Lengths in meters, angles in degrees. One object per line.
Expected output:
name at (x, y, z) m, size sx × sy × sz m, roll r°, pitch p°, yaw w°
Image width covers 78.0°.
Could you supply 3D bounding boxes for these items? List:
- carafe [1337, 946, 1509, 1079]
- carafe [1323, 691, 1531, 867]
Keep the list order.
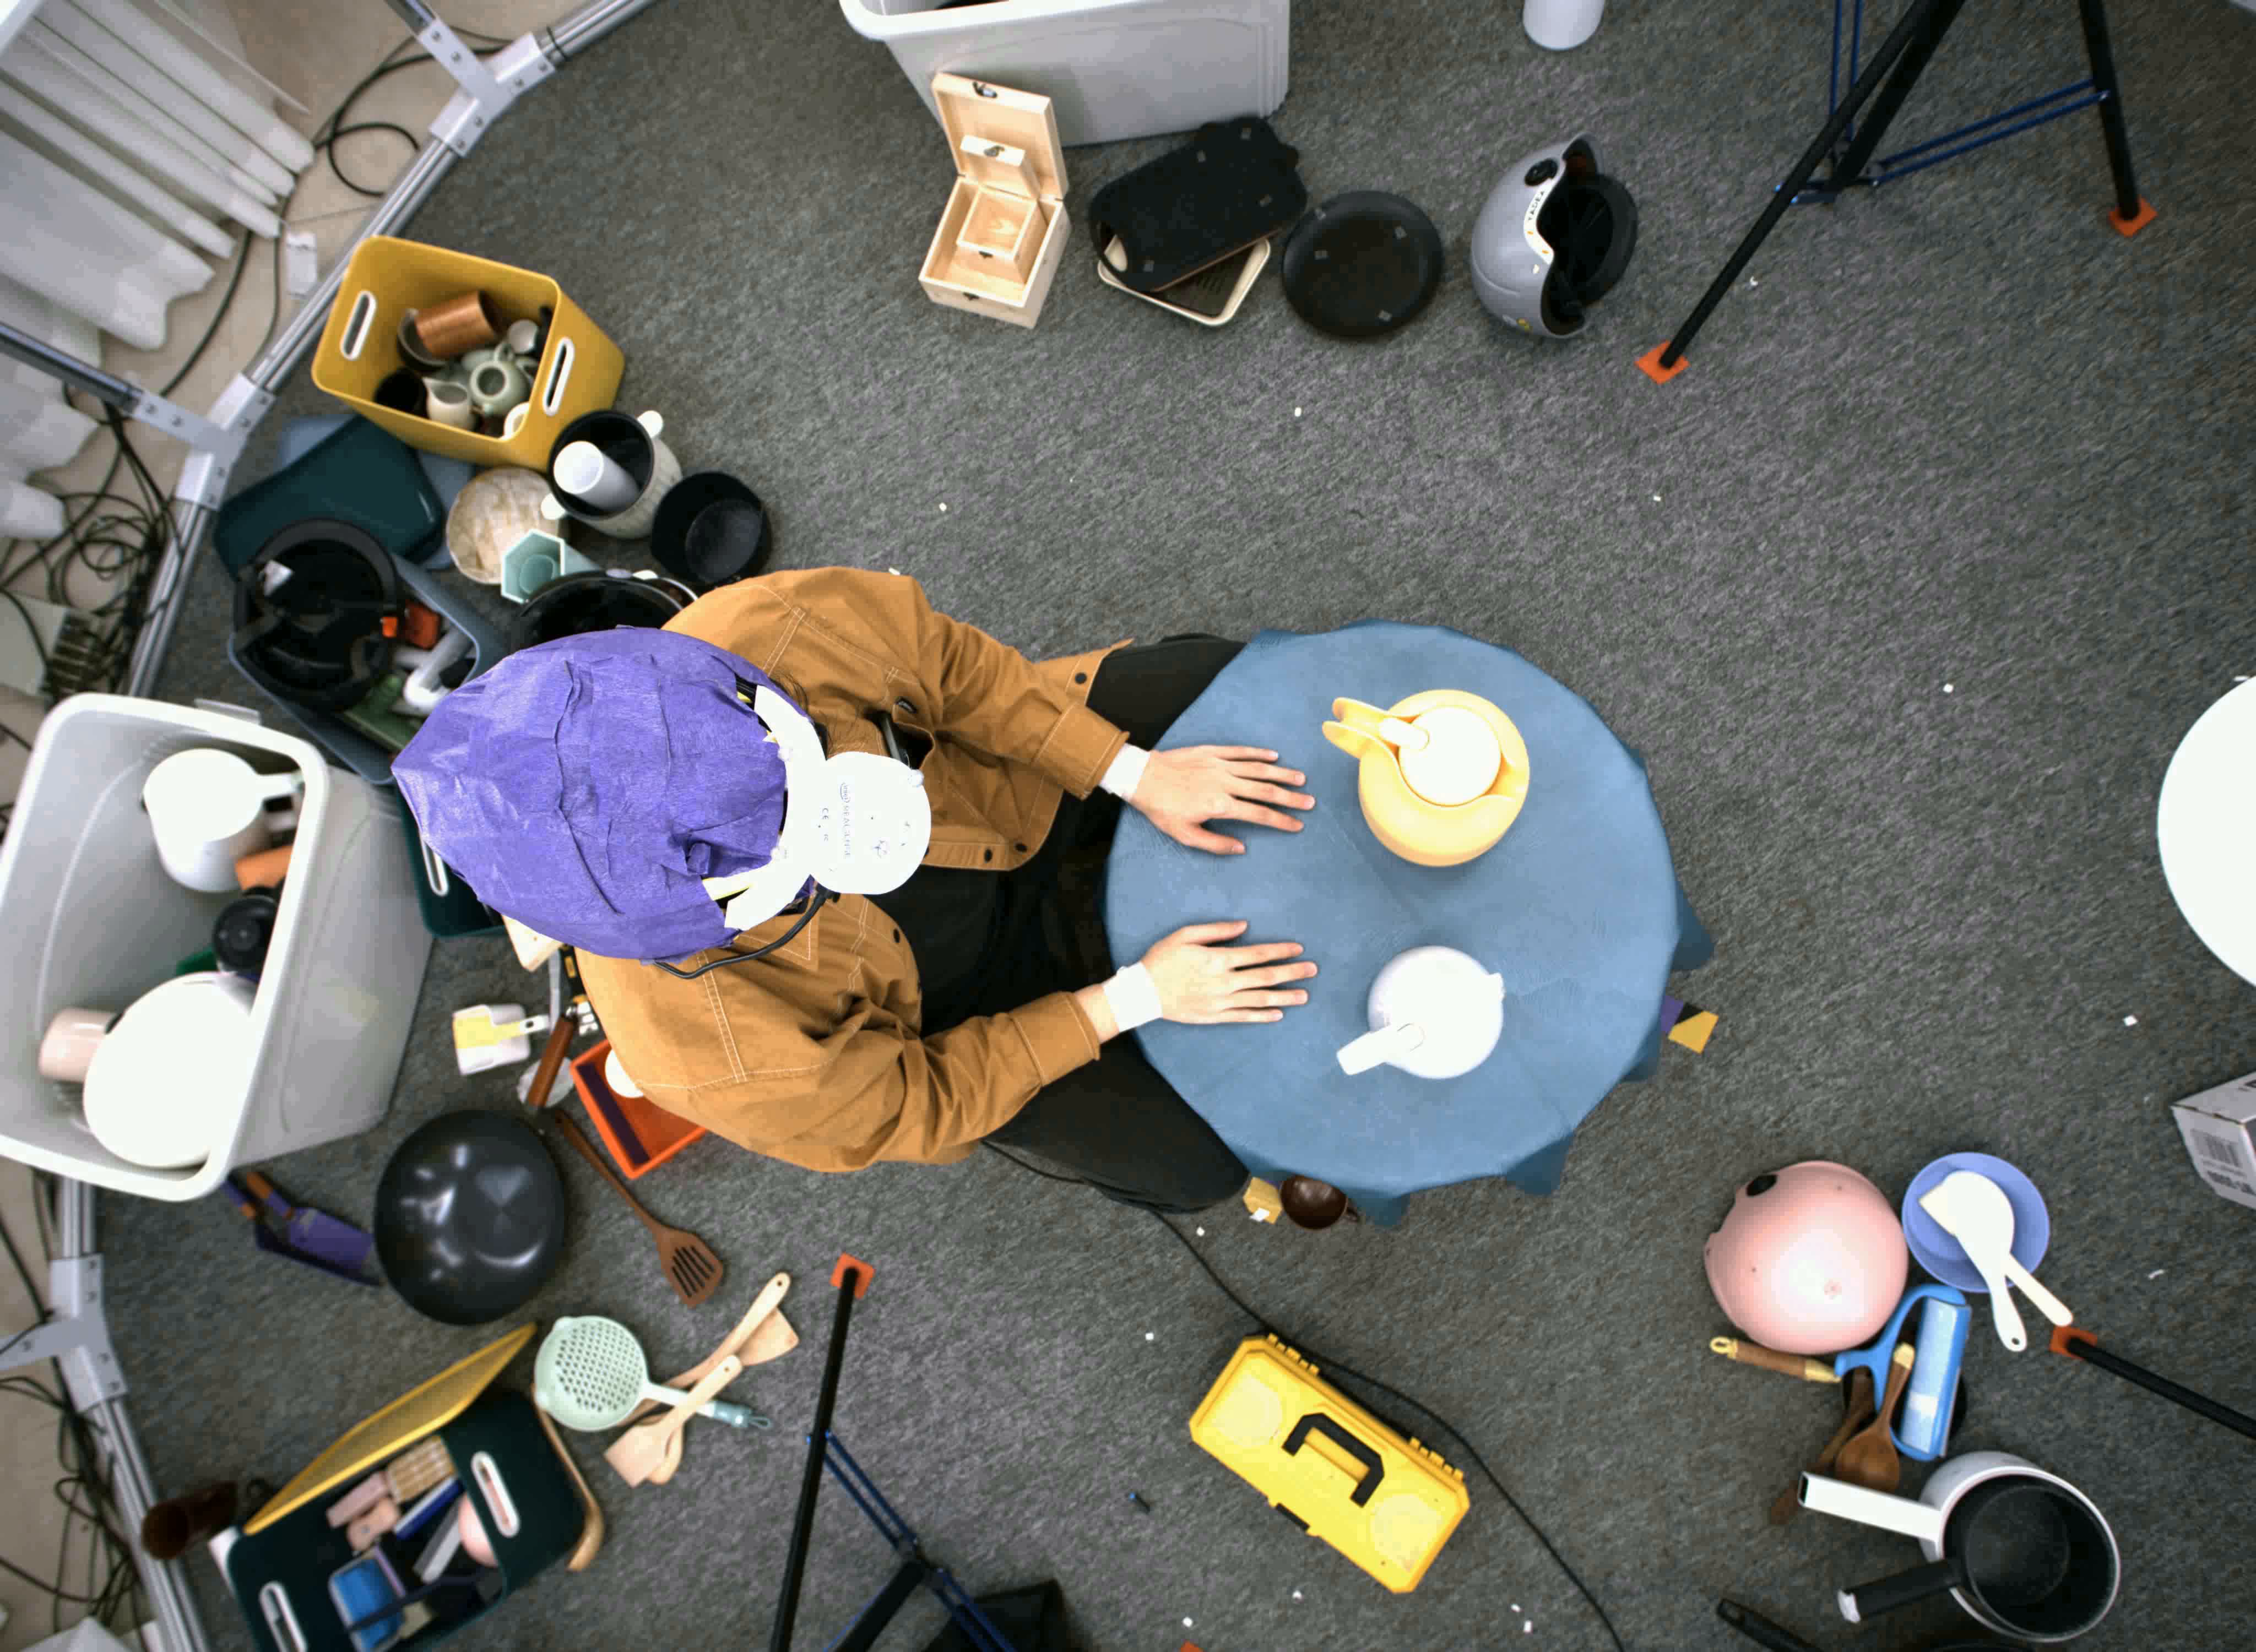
carafe at (0.280, 0.188, 1.327) m, size 0.169 × 0.248 × 0.131 m, roll -29°, pitch 81°, yaw 8°
carafe at (0.287, -0.060, 1.332) m, size 0.202 × 0.261 × 0.163 m, roll 27°, pitch 88°, yaw 10°
